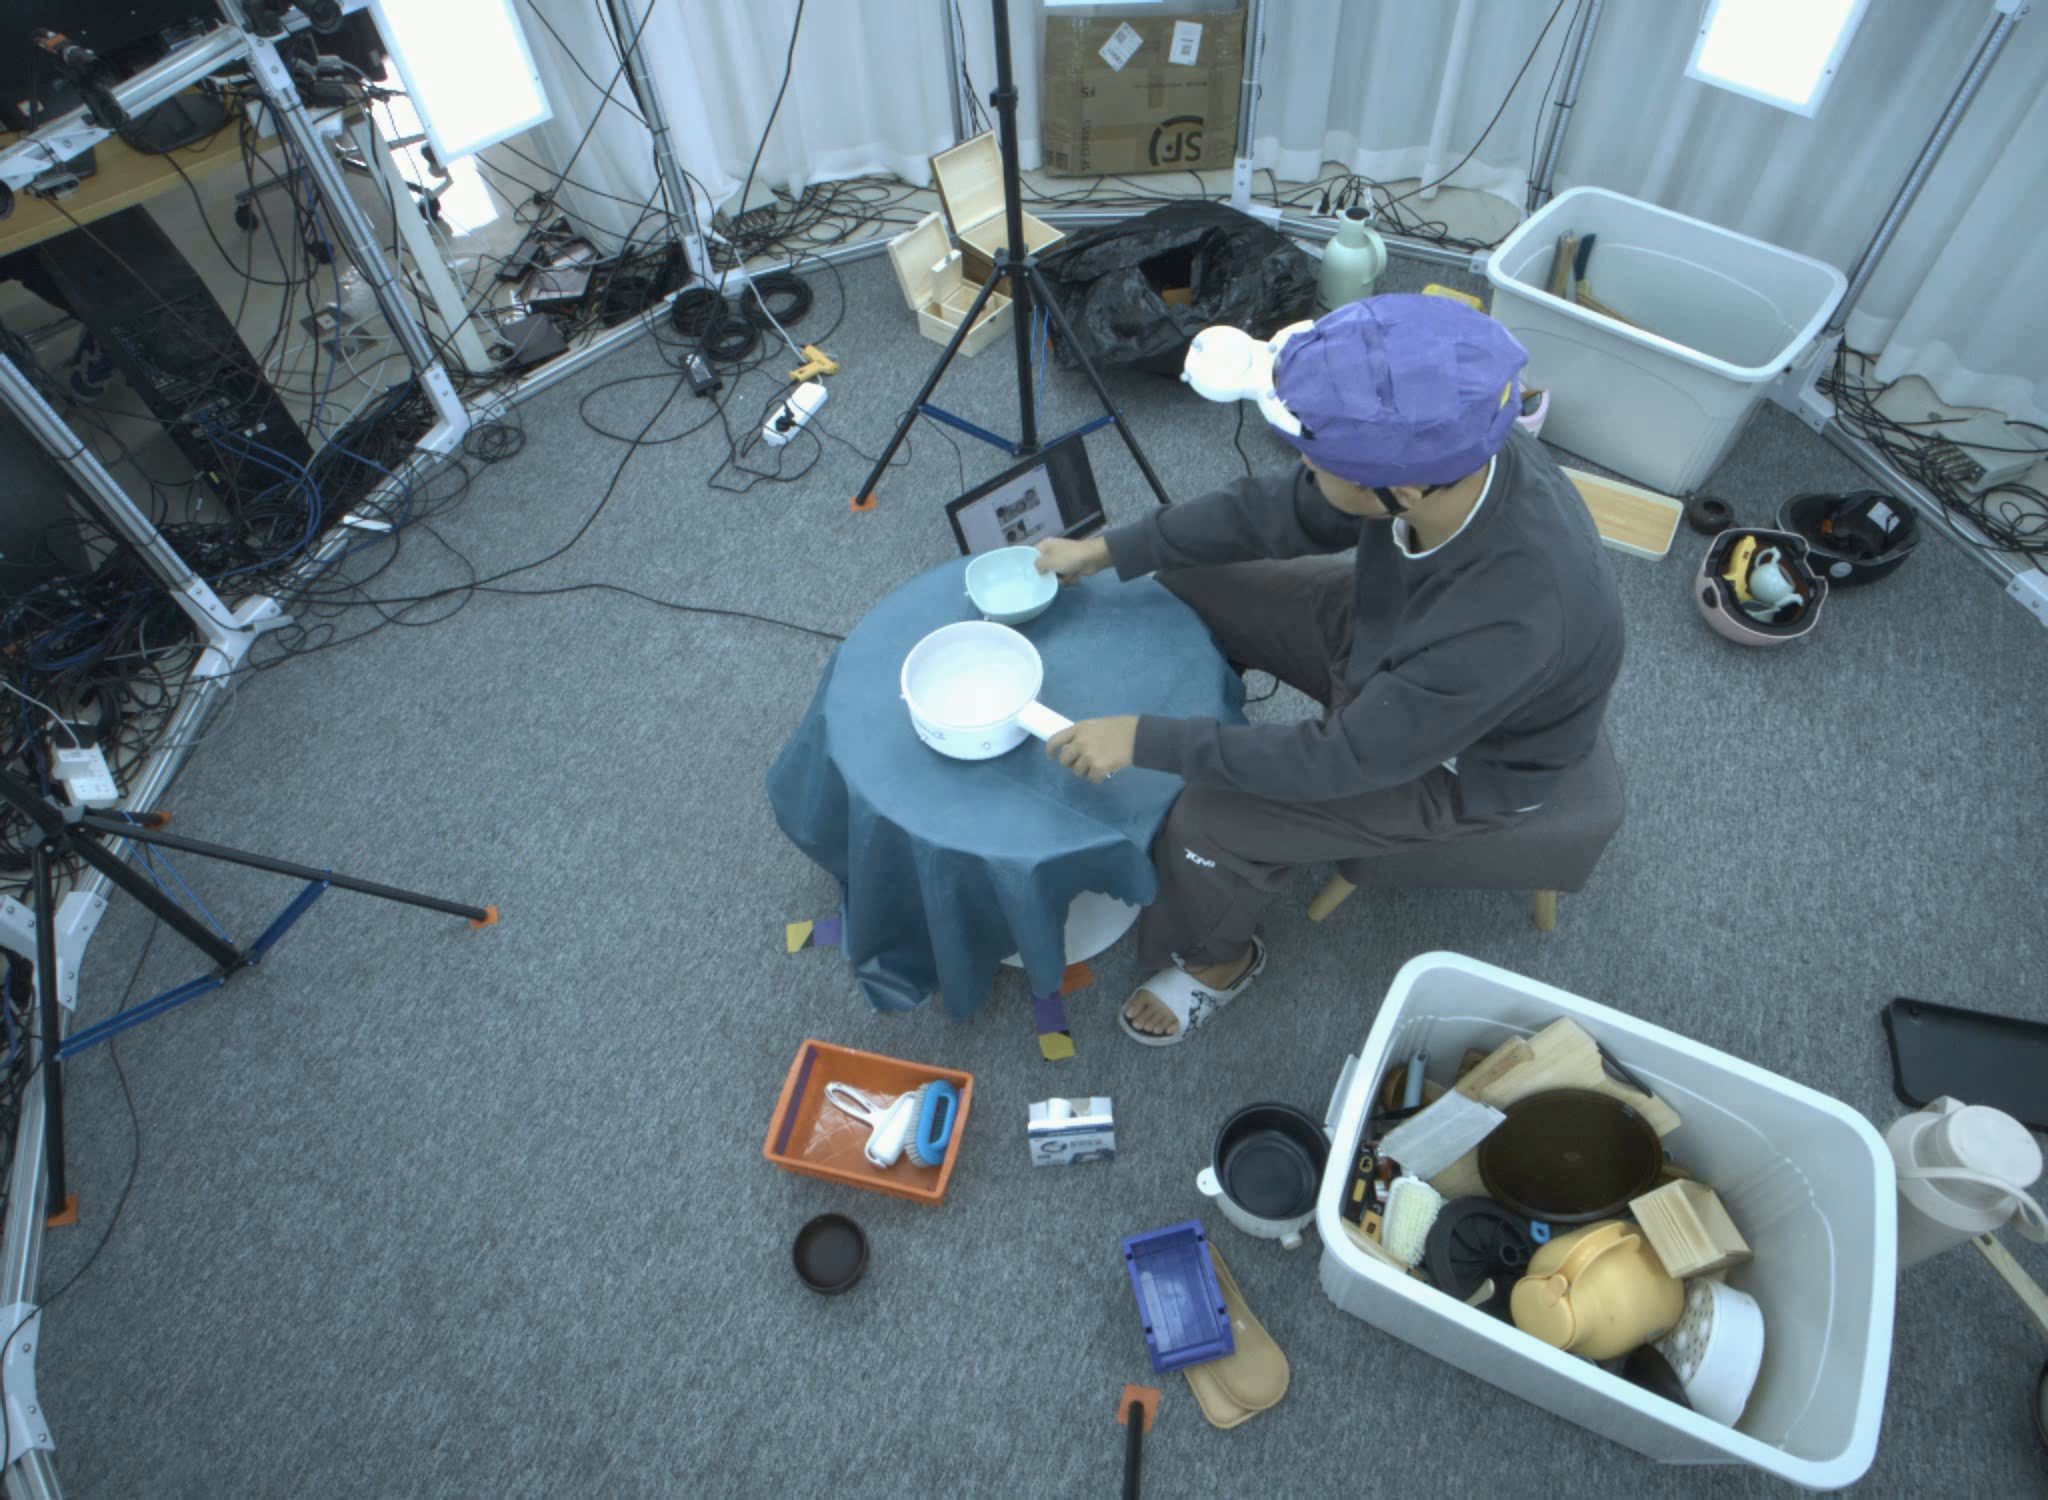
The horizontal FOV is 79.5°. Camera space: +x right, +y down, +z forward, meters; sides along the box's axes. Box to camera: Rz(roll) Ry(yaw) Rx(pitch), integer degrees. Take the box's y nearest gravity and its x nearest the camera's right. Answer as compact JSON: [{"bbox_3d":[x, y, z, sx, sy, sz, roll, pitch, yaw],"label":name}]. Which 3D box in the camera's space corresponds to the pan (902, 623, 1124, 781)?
[{"bbox_3d":[-0.012,-0.043,1.762,0.349,0.103,0.202,32,60,20],"label":"pan"}]

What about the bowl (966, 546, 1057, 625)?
[{"bbox_3d":[-0.018,-0.249,1.929,0.151,0.059,0.150,-2,55,3],"label":"bowl"}]
